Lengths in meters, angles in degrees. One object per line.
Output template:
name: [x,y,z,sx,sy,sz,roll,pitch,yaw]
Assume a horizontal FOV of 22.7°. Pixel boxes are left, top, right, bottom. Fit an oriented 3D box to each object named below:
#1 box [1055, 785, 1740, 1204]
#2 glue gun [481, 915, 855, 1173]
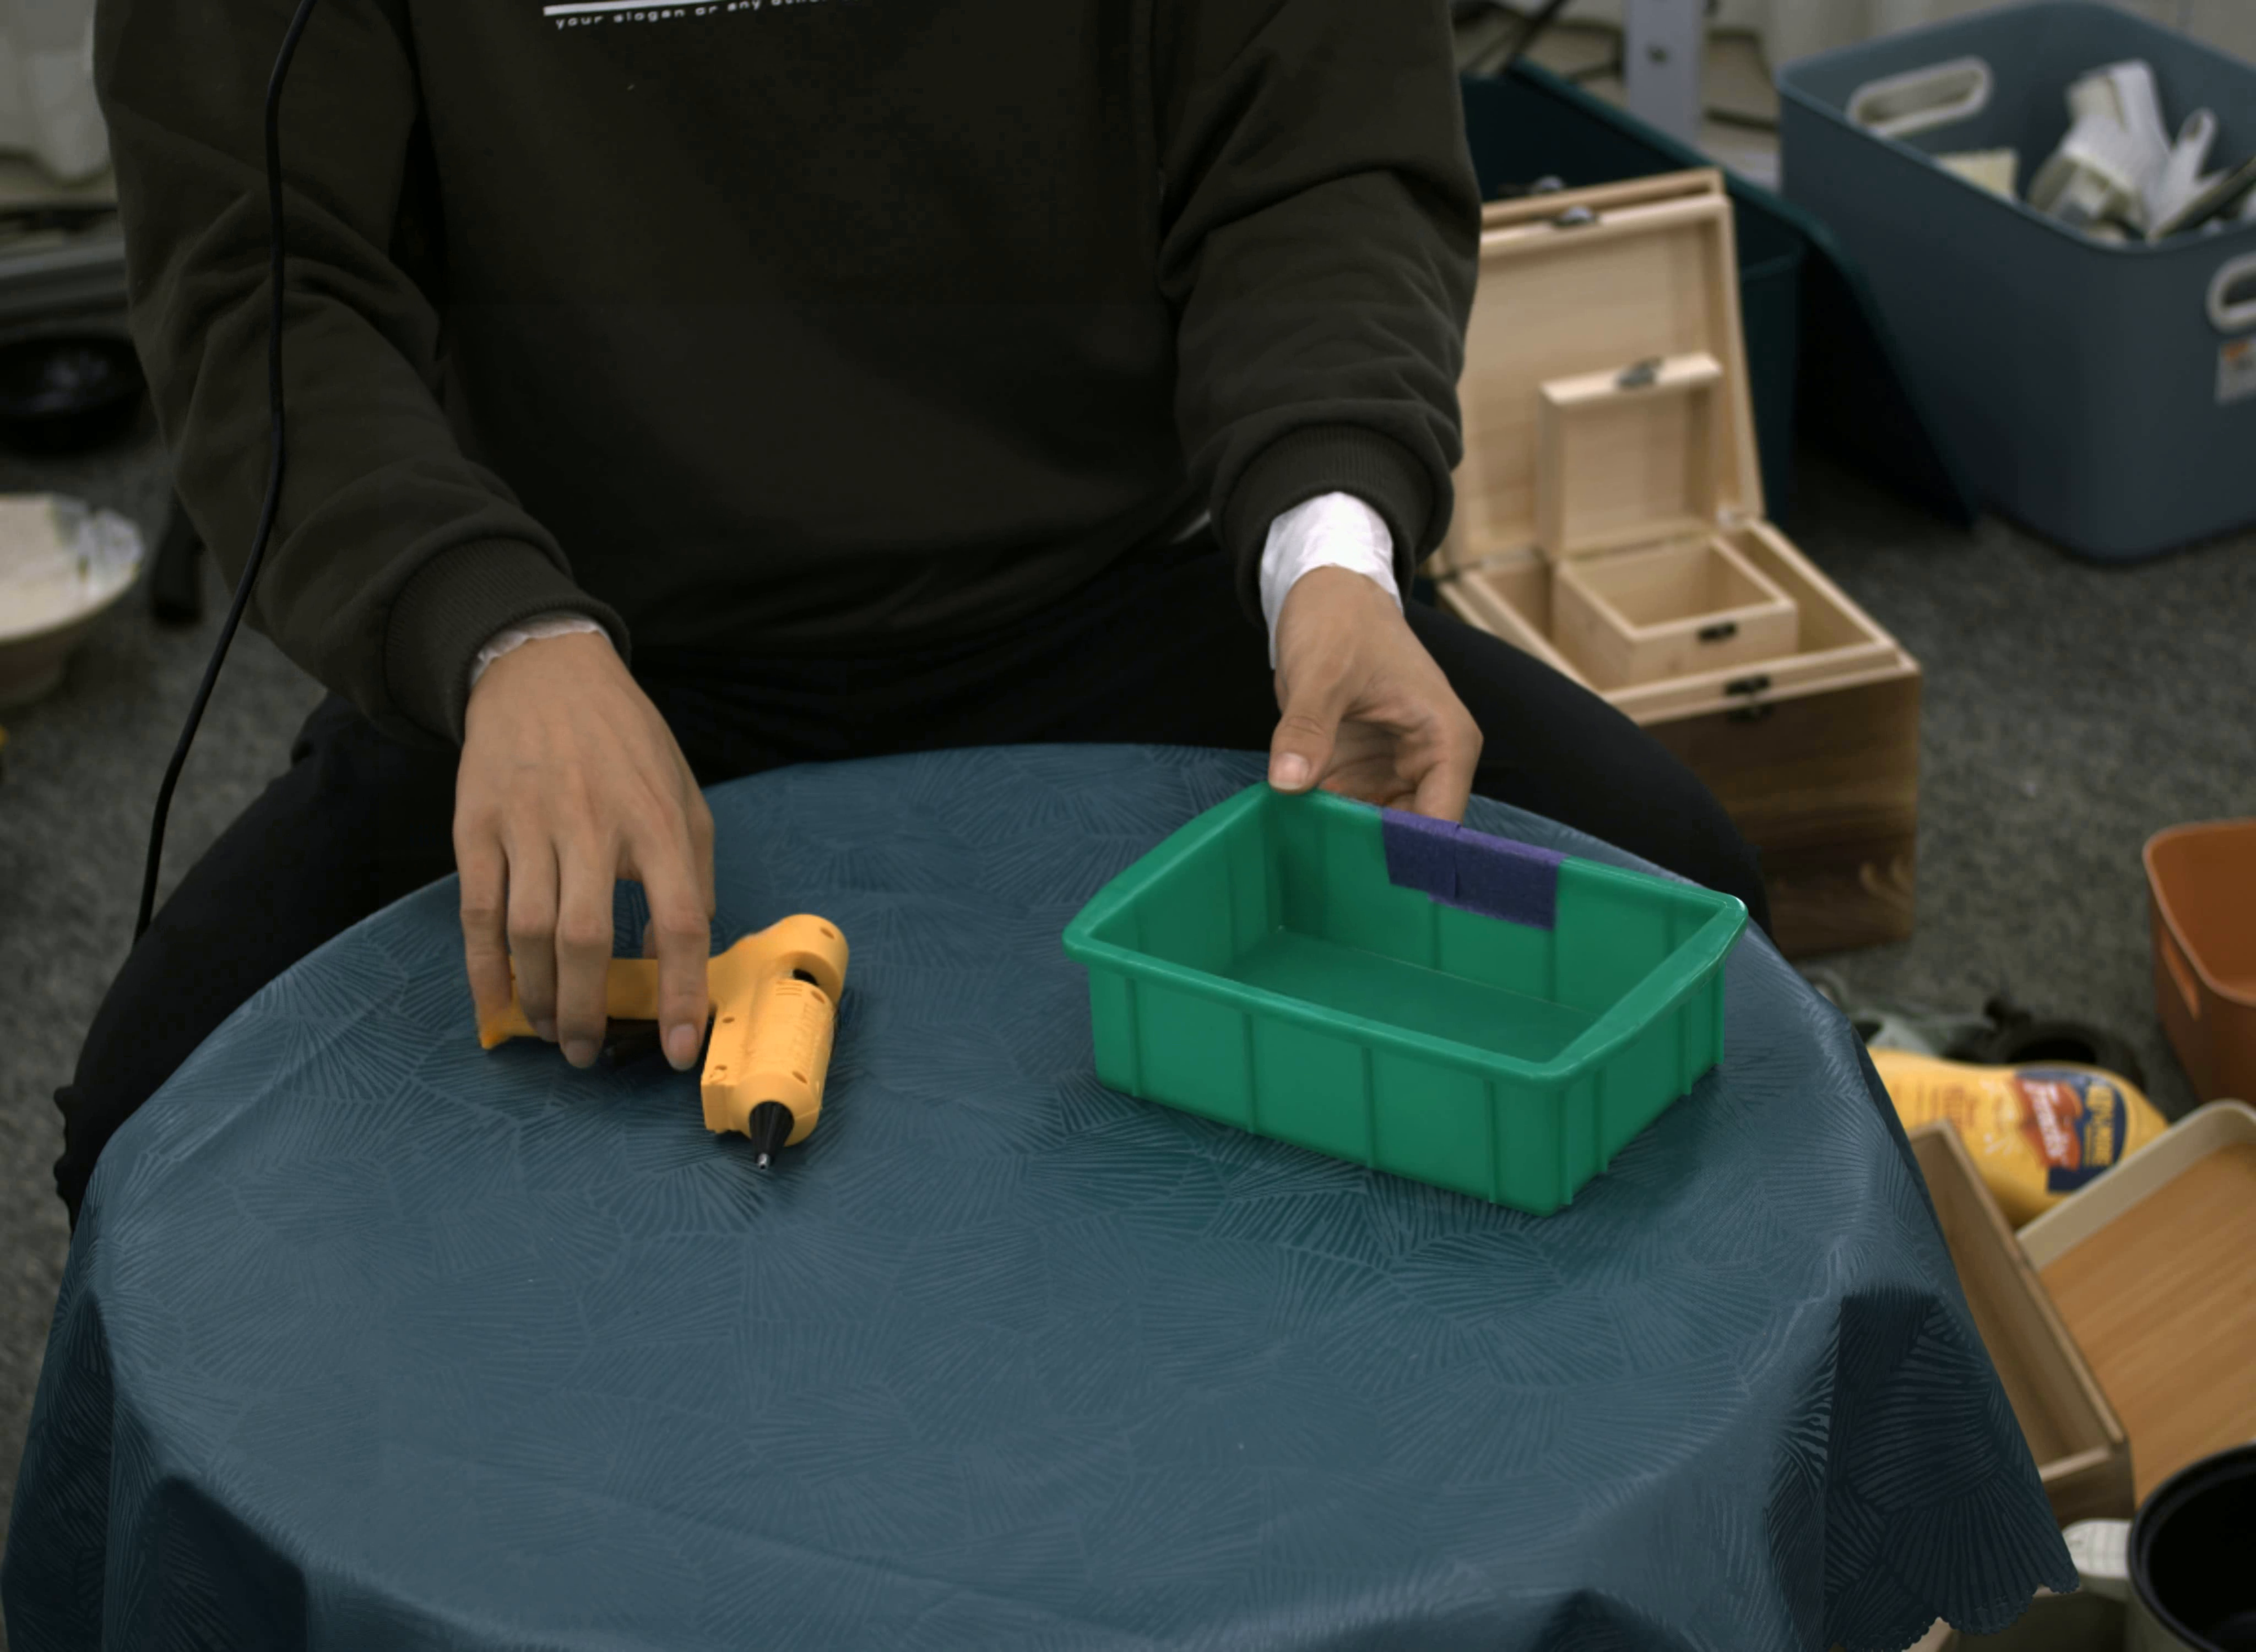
box: [0.092,0.057,1.913,0.209,0.065,0.141,12,29,30]
glue gun: [-0.161,0.083,1.931,0.132,0.031,0.153,-5,28,1]
